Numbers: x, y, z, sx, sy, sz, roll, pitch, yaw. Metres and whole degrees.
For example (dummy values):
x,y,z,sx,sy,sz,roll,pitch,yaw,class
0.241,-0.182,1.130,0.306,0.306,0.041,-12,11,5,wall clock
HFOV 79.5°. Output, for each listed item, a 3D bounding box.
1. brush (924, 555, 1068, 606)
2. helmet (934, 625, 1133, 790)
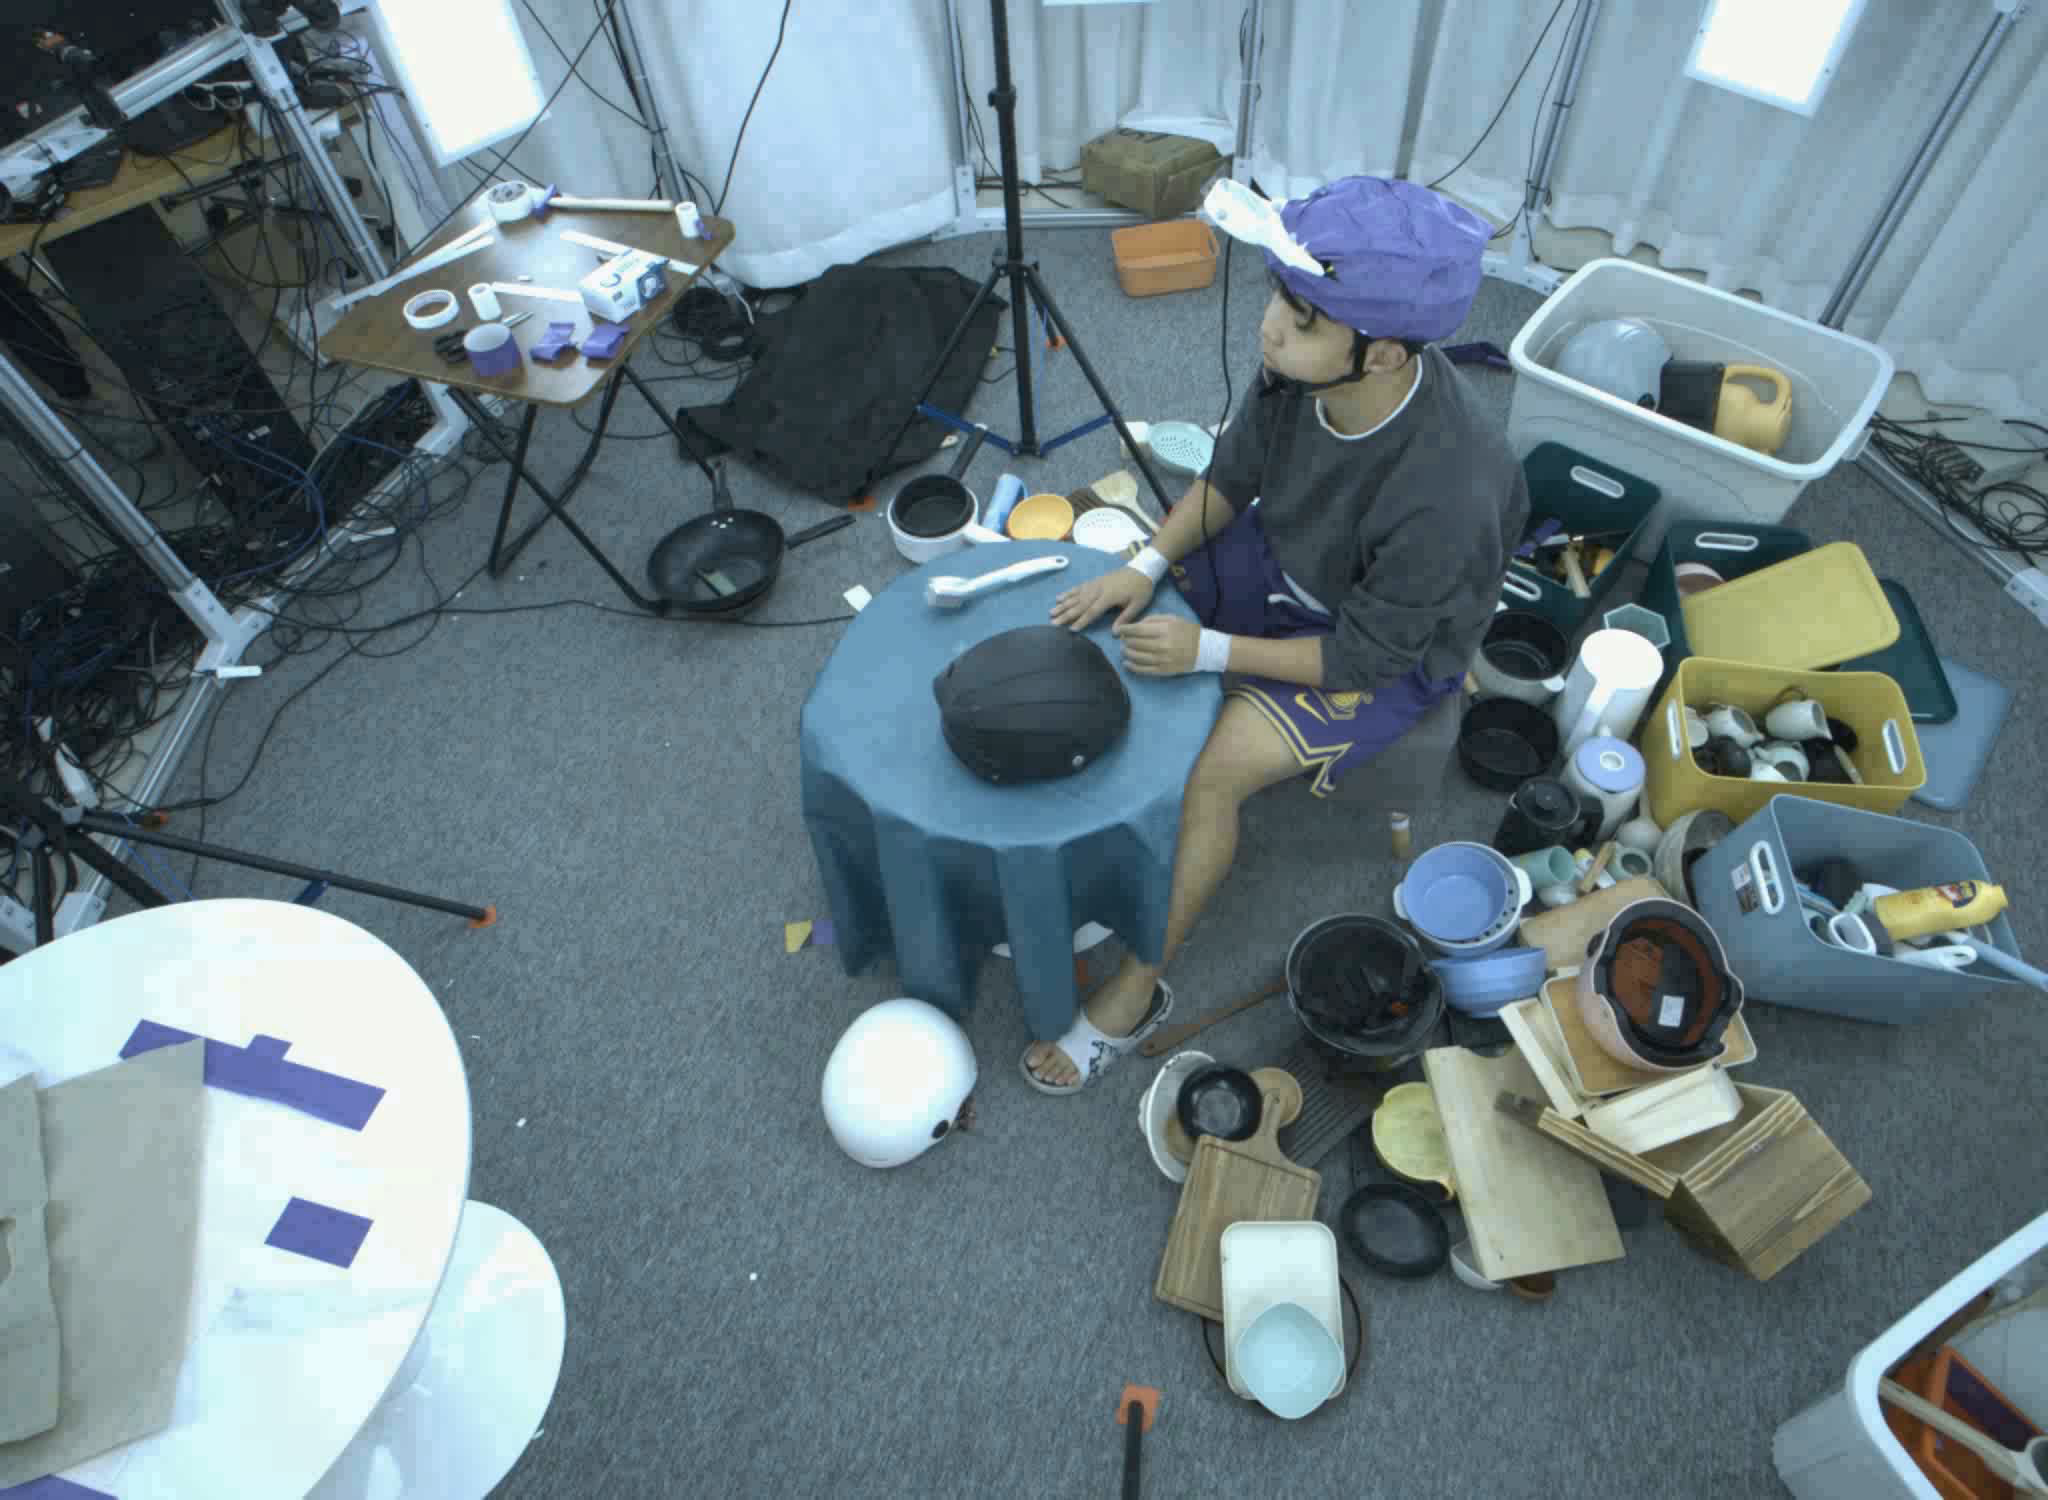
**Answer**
x,y,z,sx,sy,sz,roll,pitch,yaw,class
-0.043,-0.272,1.971,0.247,0.050,0.034,-14,53,-24,brush
0.012,-0.081,1.749,0.278,0.174,0.242,-17,56,-5,helmet
